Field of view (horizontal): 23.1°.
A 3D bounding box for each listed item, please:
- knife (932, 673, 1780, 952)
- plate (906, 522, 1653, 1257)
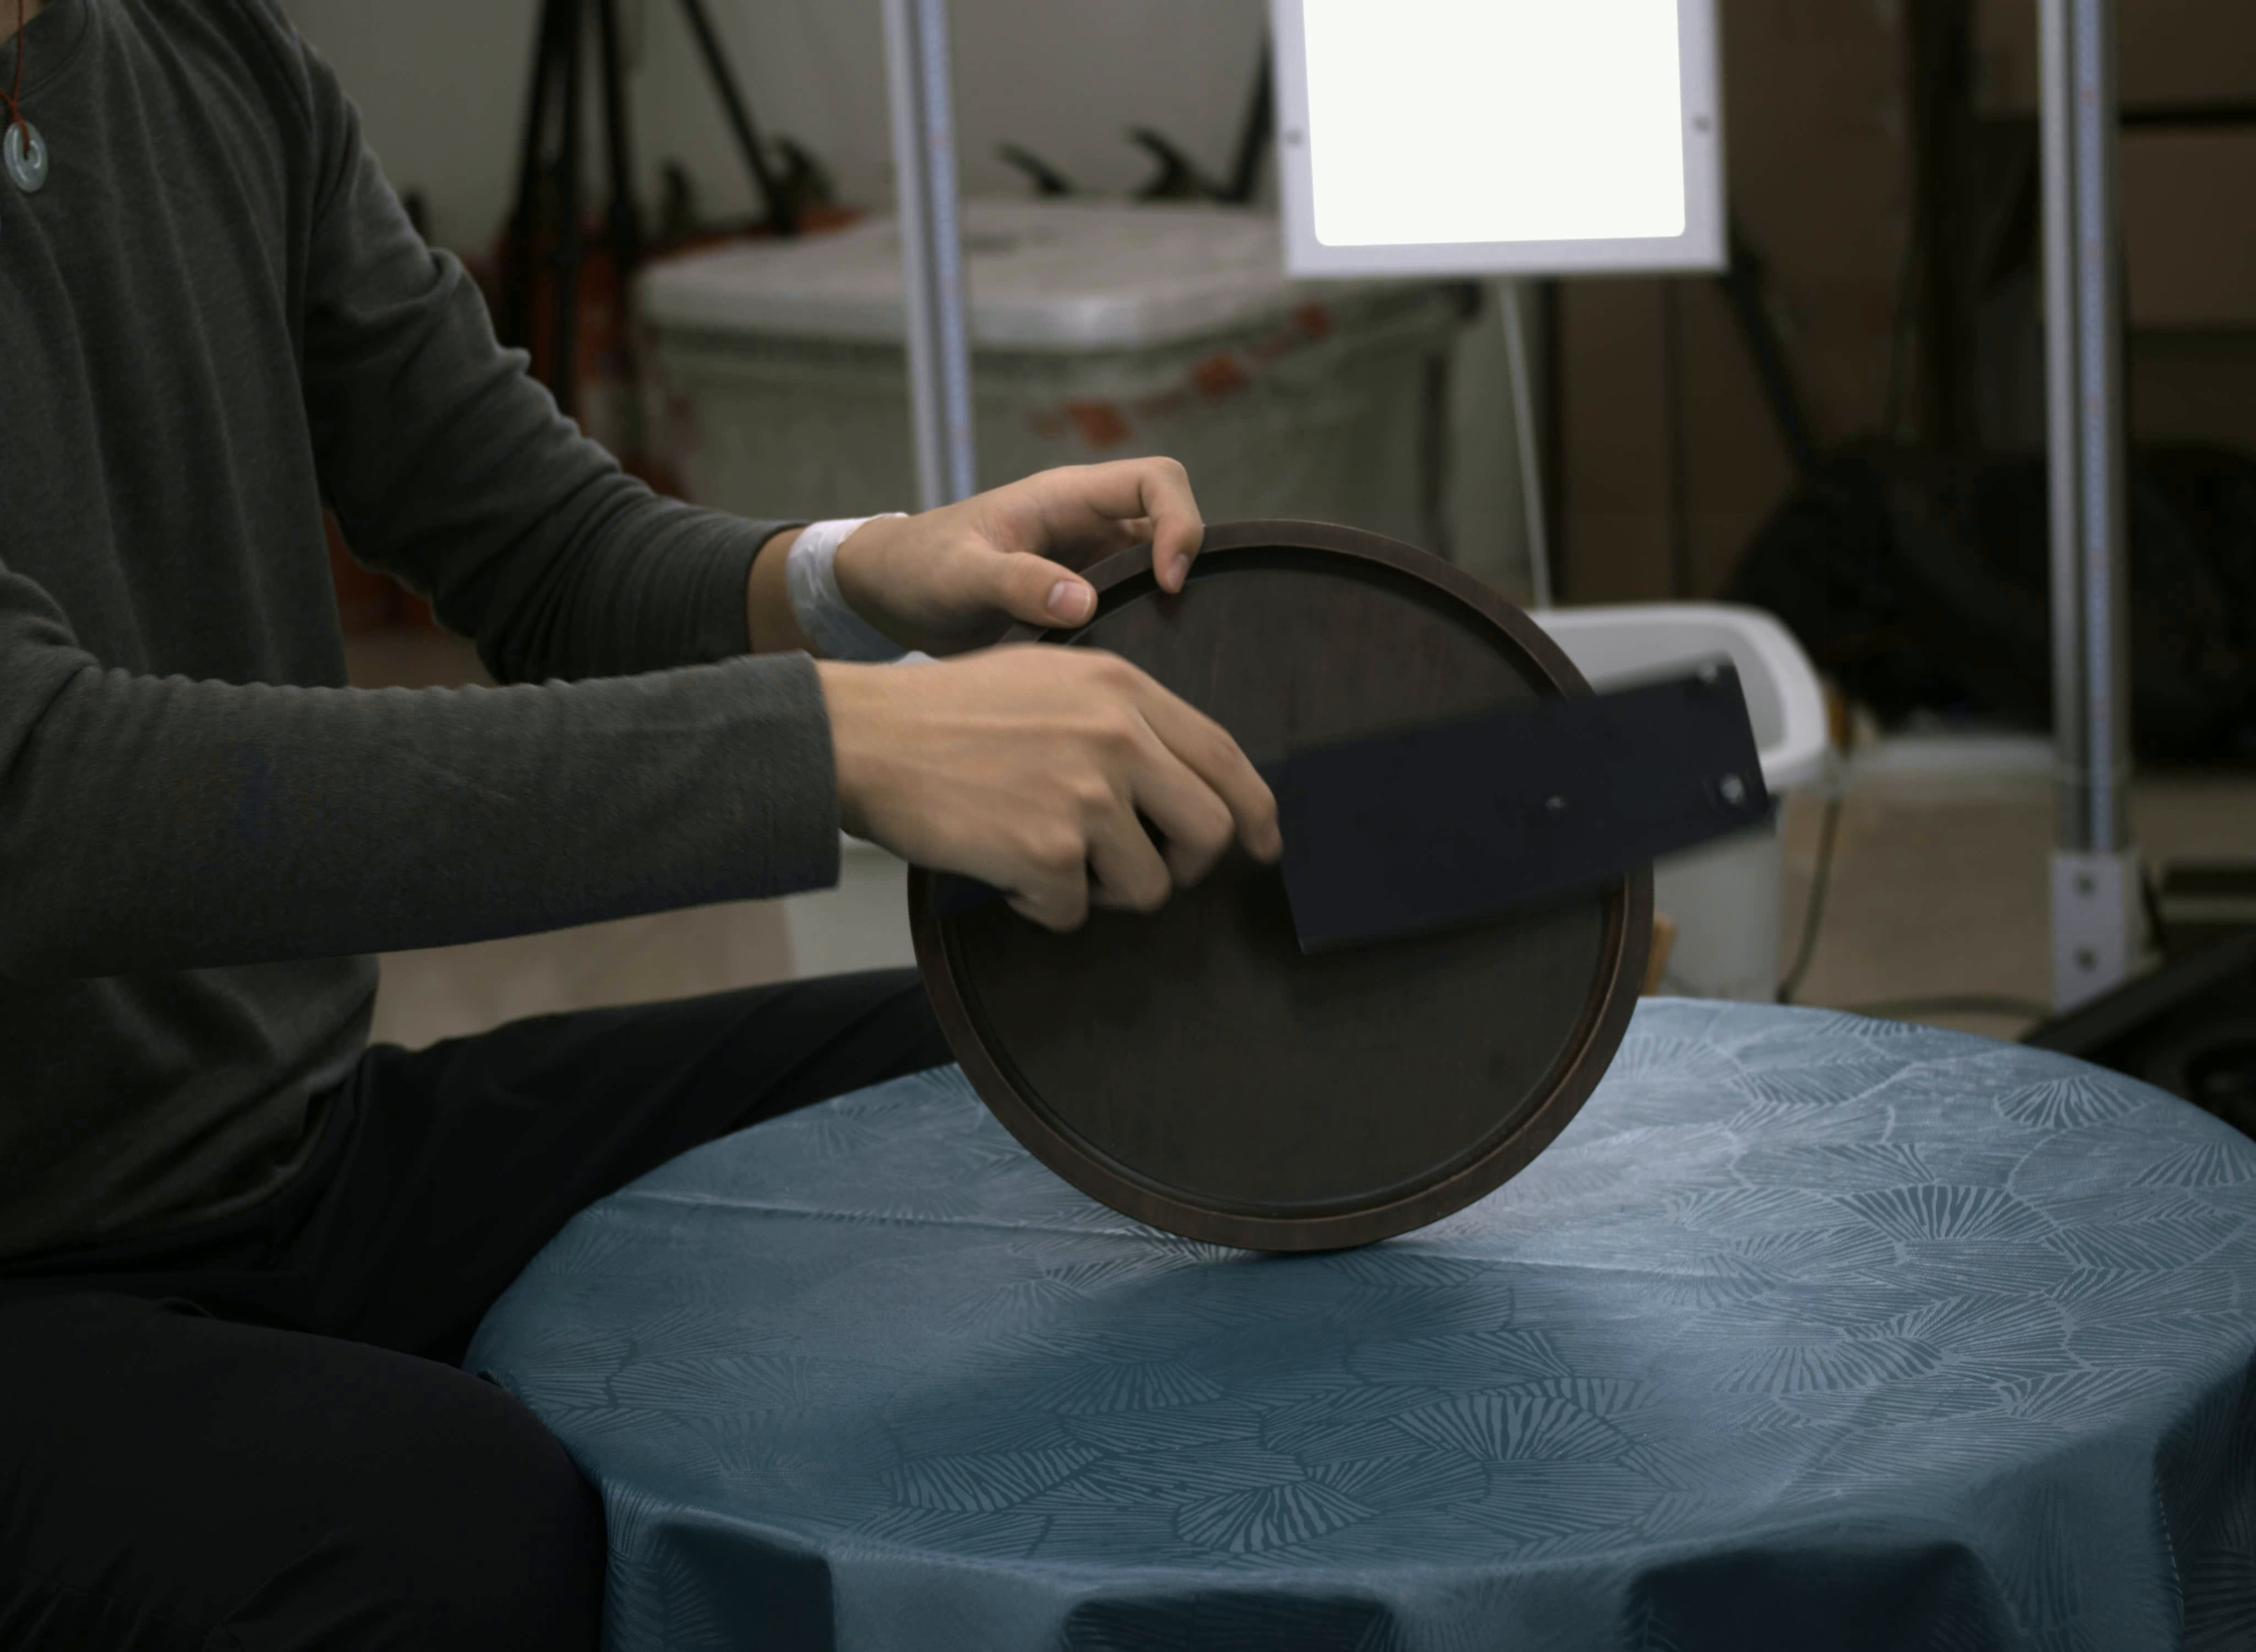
[{"bbox_3d":[0.078,0.002,1.814,0.297,0.081,0.021,-7,-7,-17],"label":"knife"},{"bbox_3d":[0.051,0.021,1.851,0.253,0.255,0.029,-6,-12,-3],"label":"plate"}]
